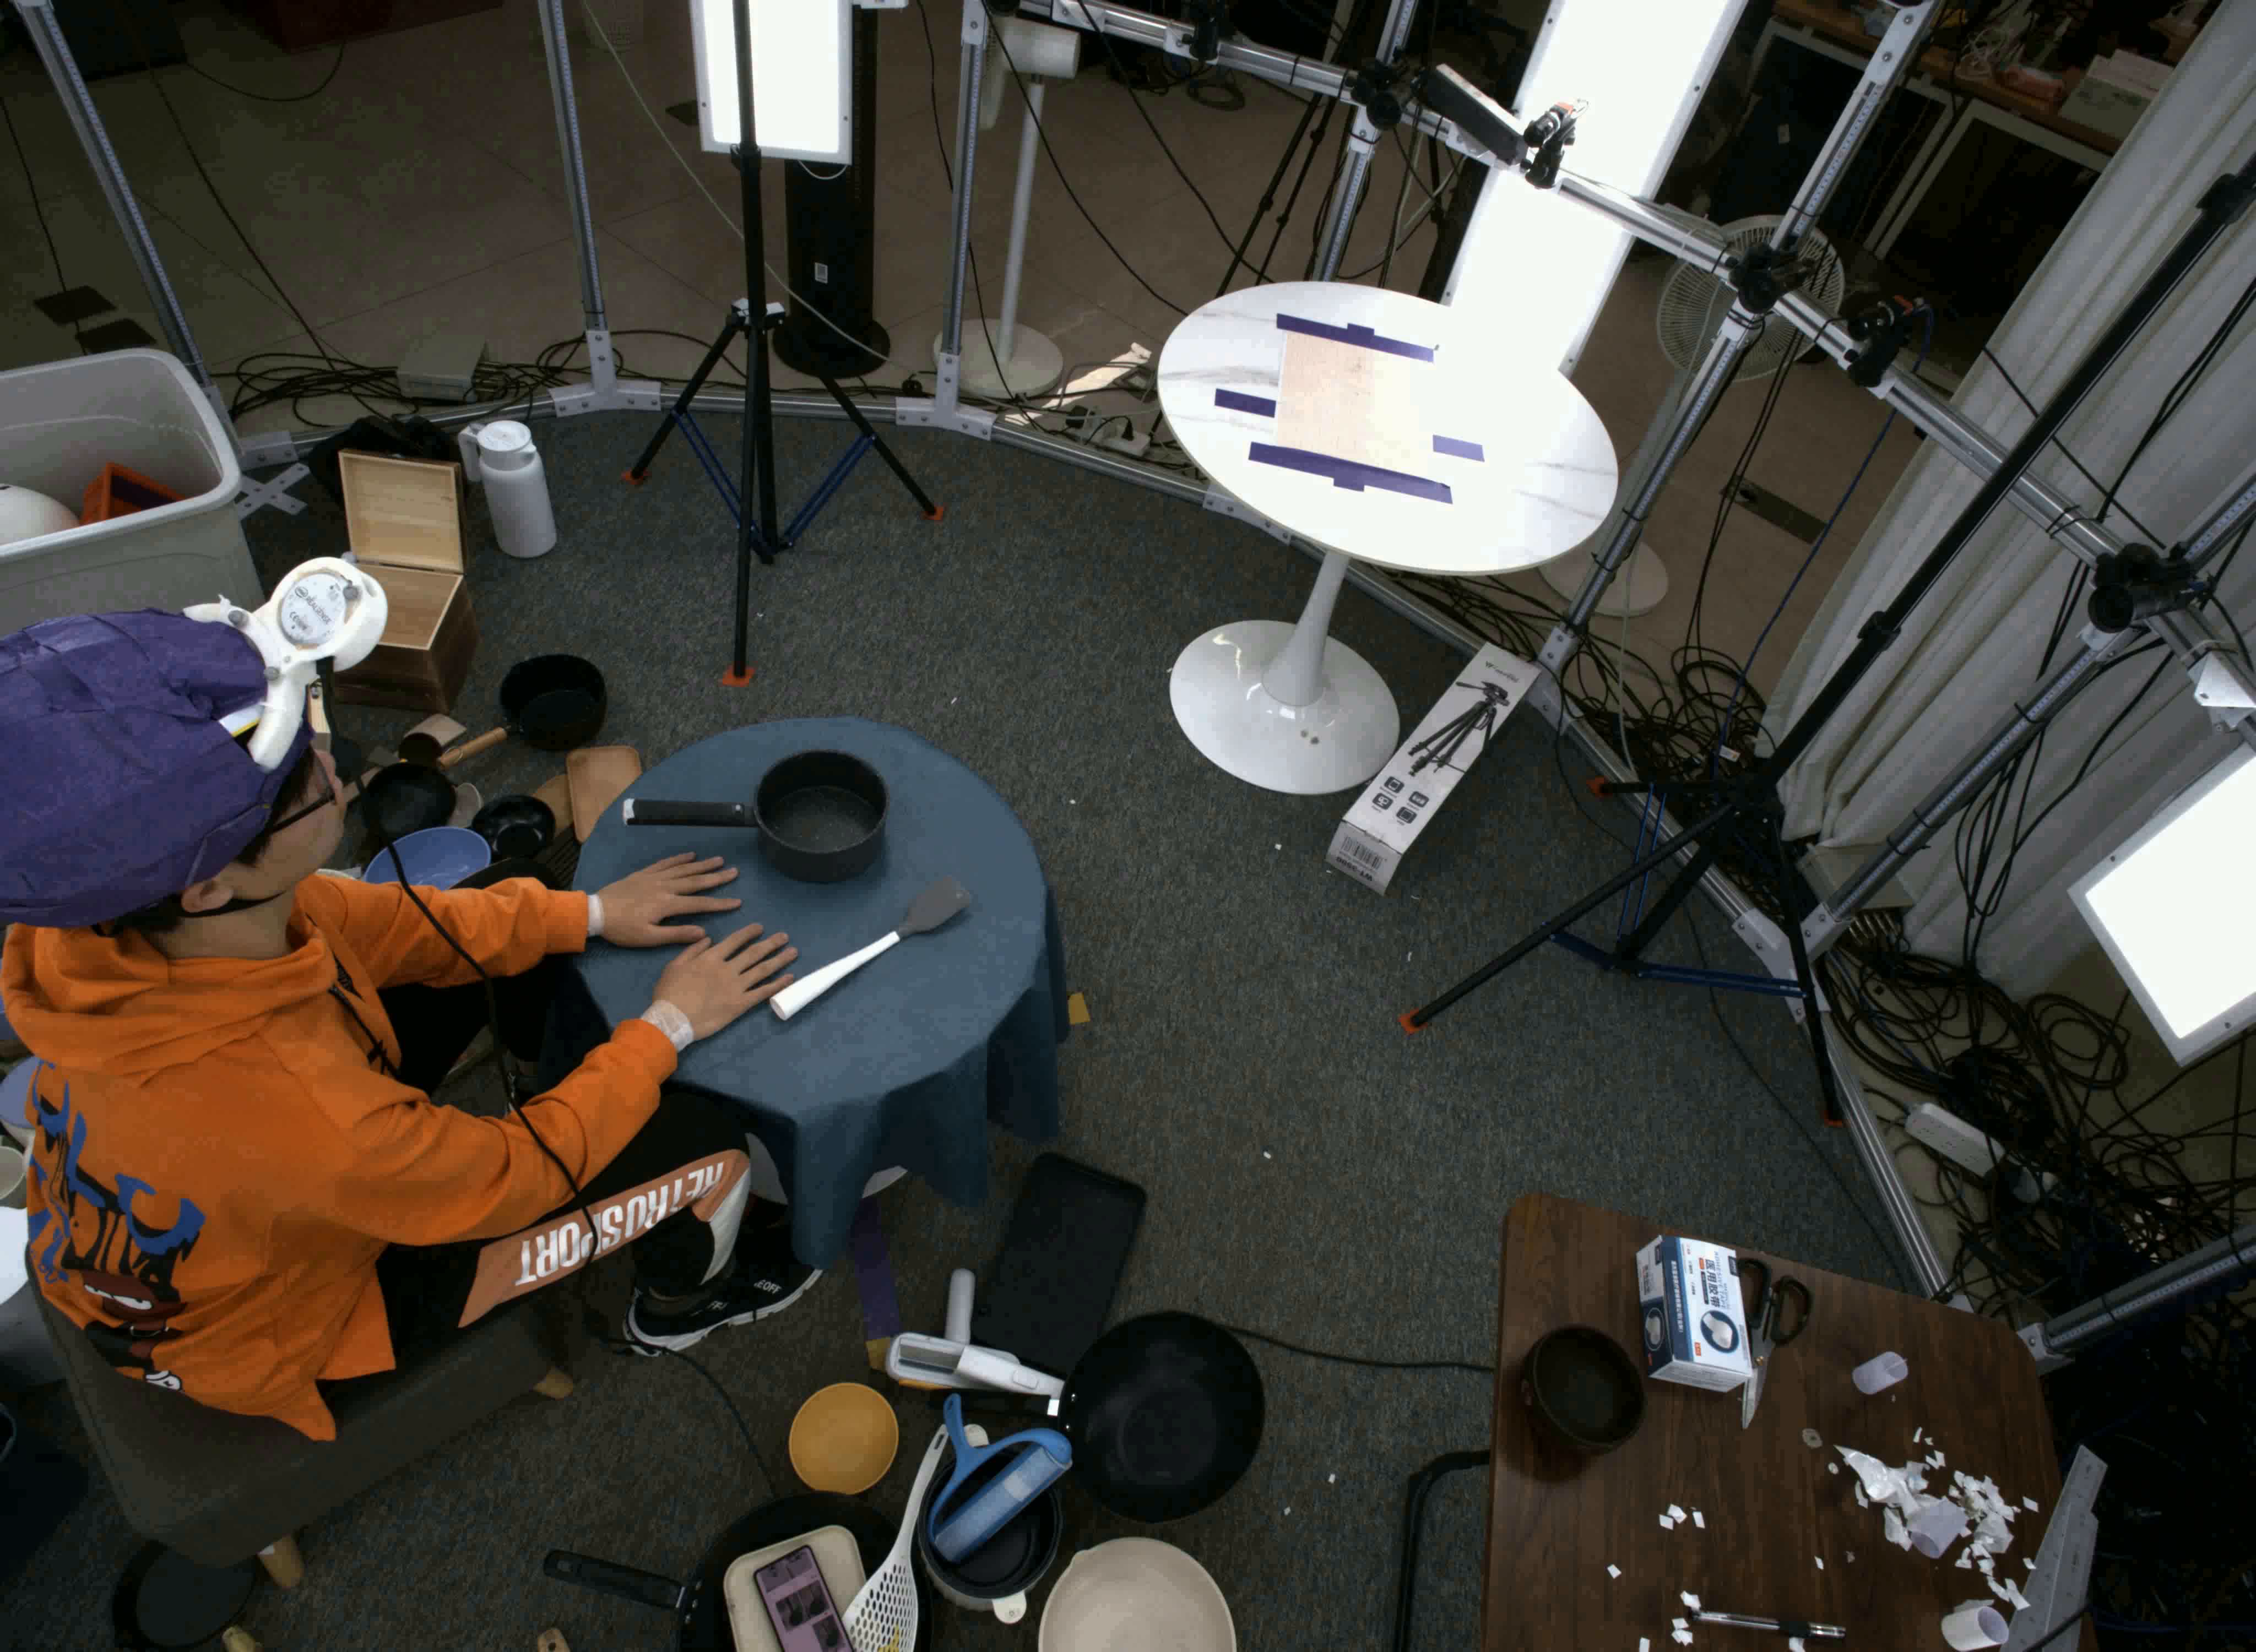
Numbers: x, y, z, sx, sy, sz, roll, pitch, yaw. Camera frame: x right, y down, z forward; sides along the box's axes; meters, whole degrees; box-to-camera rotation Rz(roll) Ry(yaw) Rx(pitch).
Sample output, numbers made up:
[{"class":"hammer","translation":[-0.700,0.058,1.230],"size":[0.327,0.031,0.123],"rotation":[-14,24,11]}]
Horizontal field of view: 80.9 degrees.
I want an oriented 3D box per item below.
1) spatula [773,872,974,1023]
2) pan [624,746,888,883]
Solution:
[{"class":"spatula","translation":[-0.313,0.148,1.612],"size":[0.057,0.033,0.288],"rotation":[40,55,22]},{"class":"pan","translation":[-0.474,-0.012,1.655],"size":[0.330,0.088,0.168],"rotation":[-1,53,-18]}]
